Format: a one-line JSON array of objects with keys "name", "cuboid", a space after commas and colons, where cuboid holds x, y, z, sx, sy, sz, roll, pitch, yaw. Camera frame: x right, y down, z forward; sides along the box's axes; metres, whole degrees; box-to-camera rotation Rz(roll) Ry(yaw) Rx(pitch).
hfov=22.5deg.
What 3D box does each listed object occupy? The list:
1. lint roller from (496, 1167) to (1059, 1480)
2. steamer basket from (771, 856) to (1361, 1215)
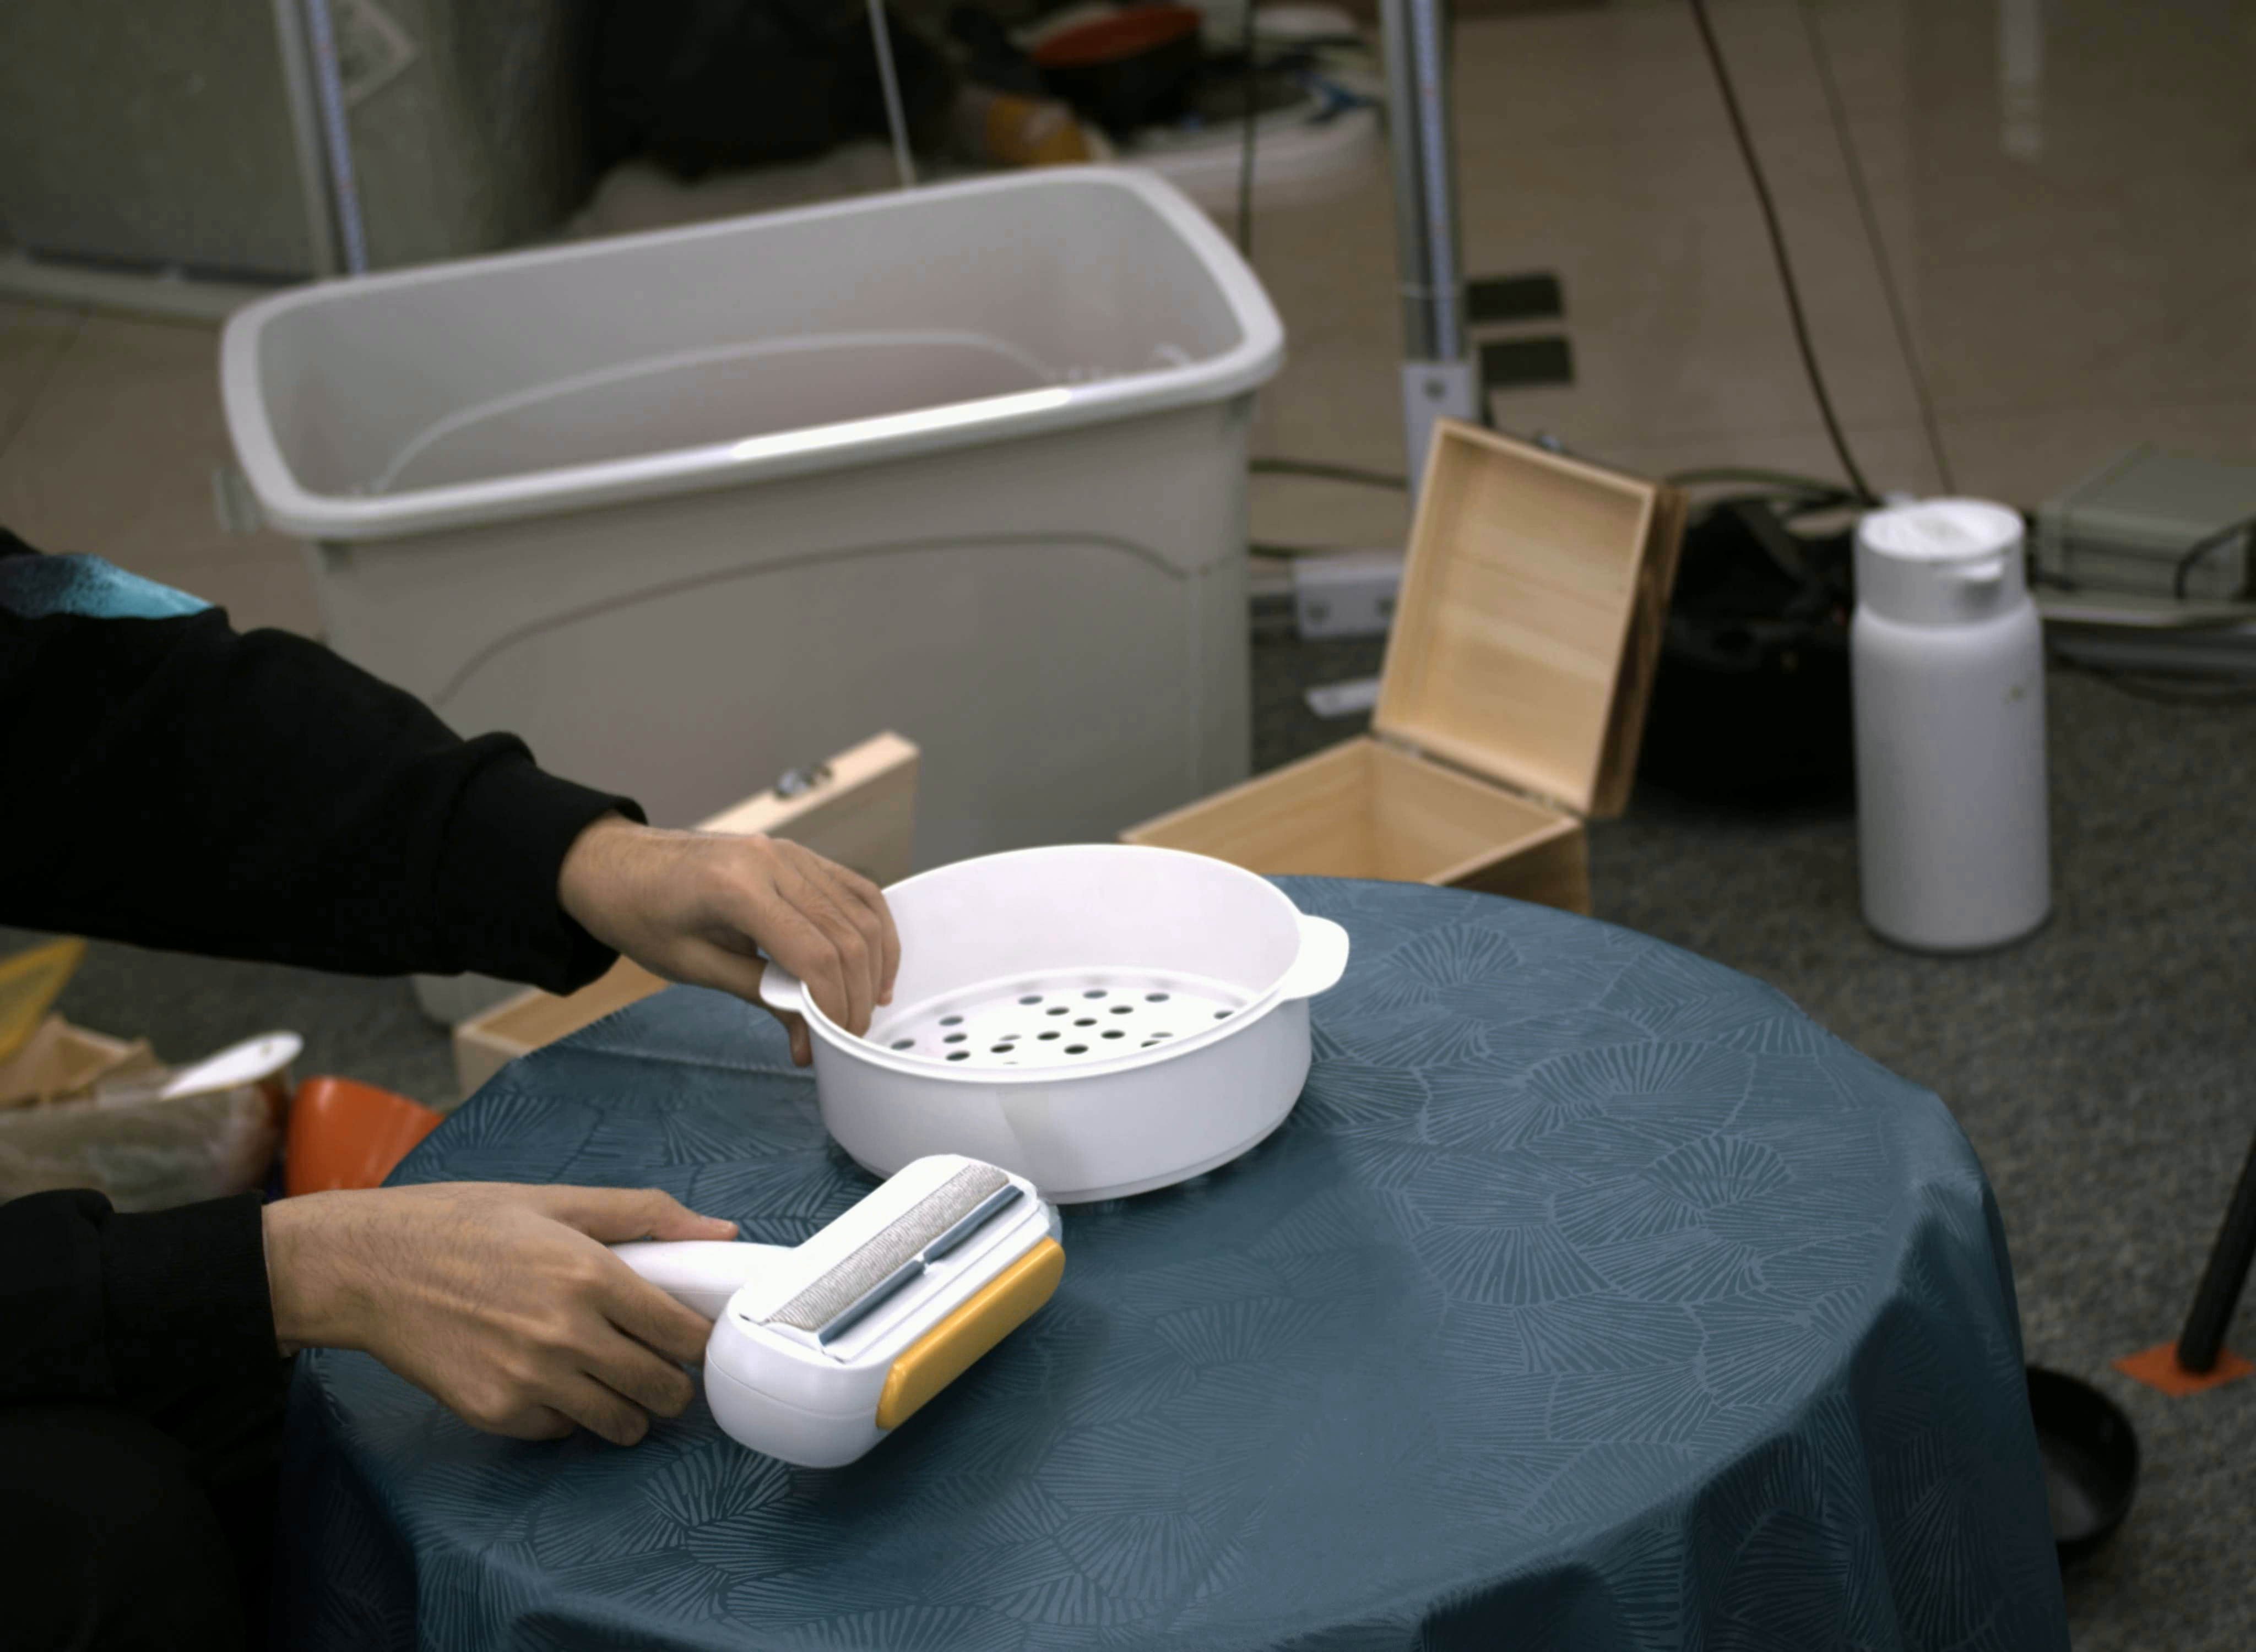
[{"name": "lint roller", "cuboid": [-0.141, 0.165, 2.023, 0.191, 0.075, 0.191, 14, 26, 24]}, {"name": "steamer basket", "cuboid": [-0.021, 0.081, 2.198, 0.230, 0.070, 0.199, -4, 23, 10]}]
